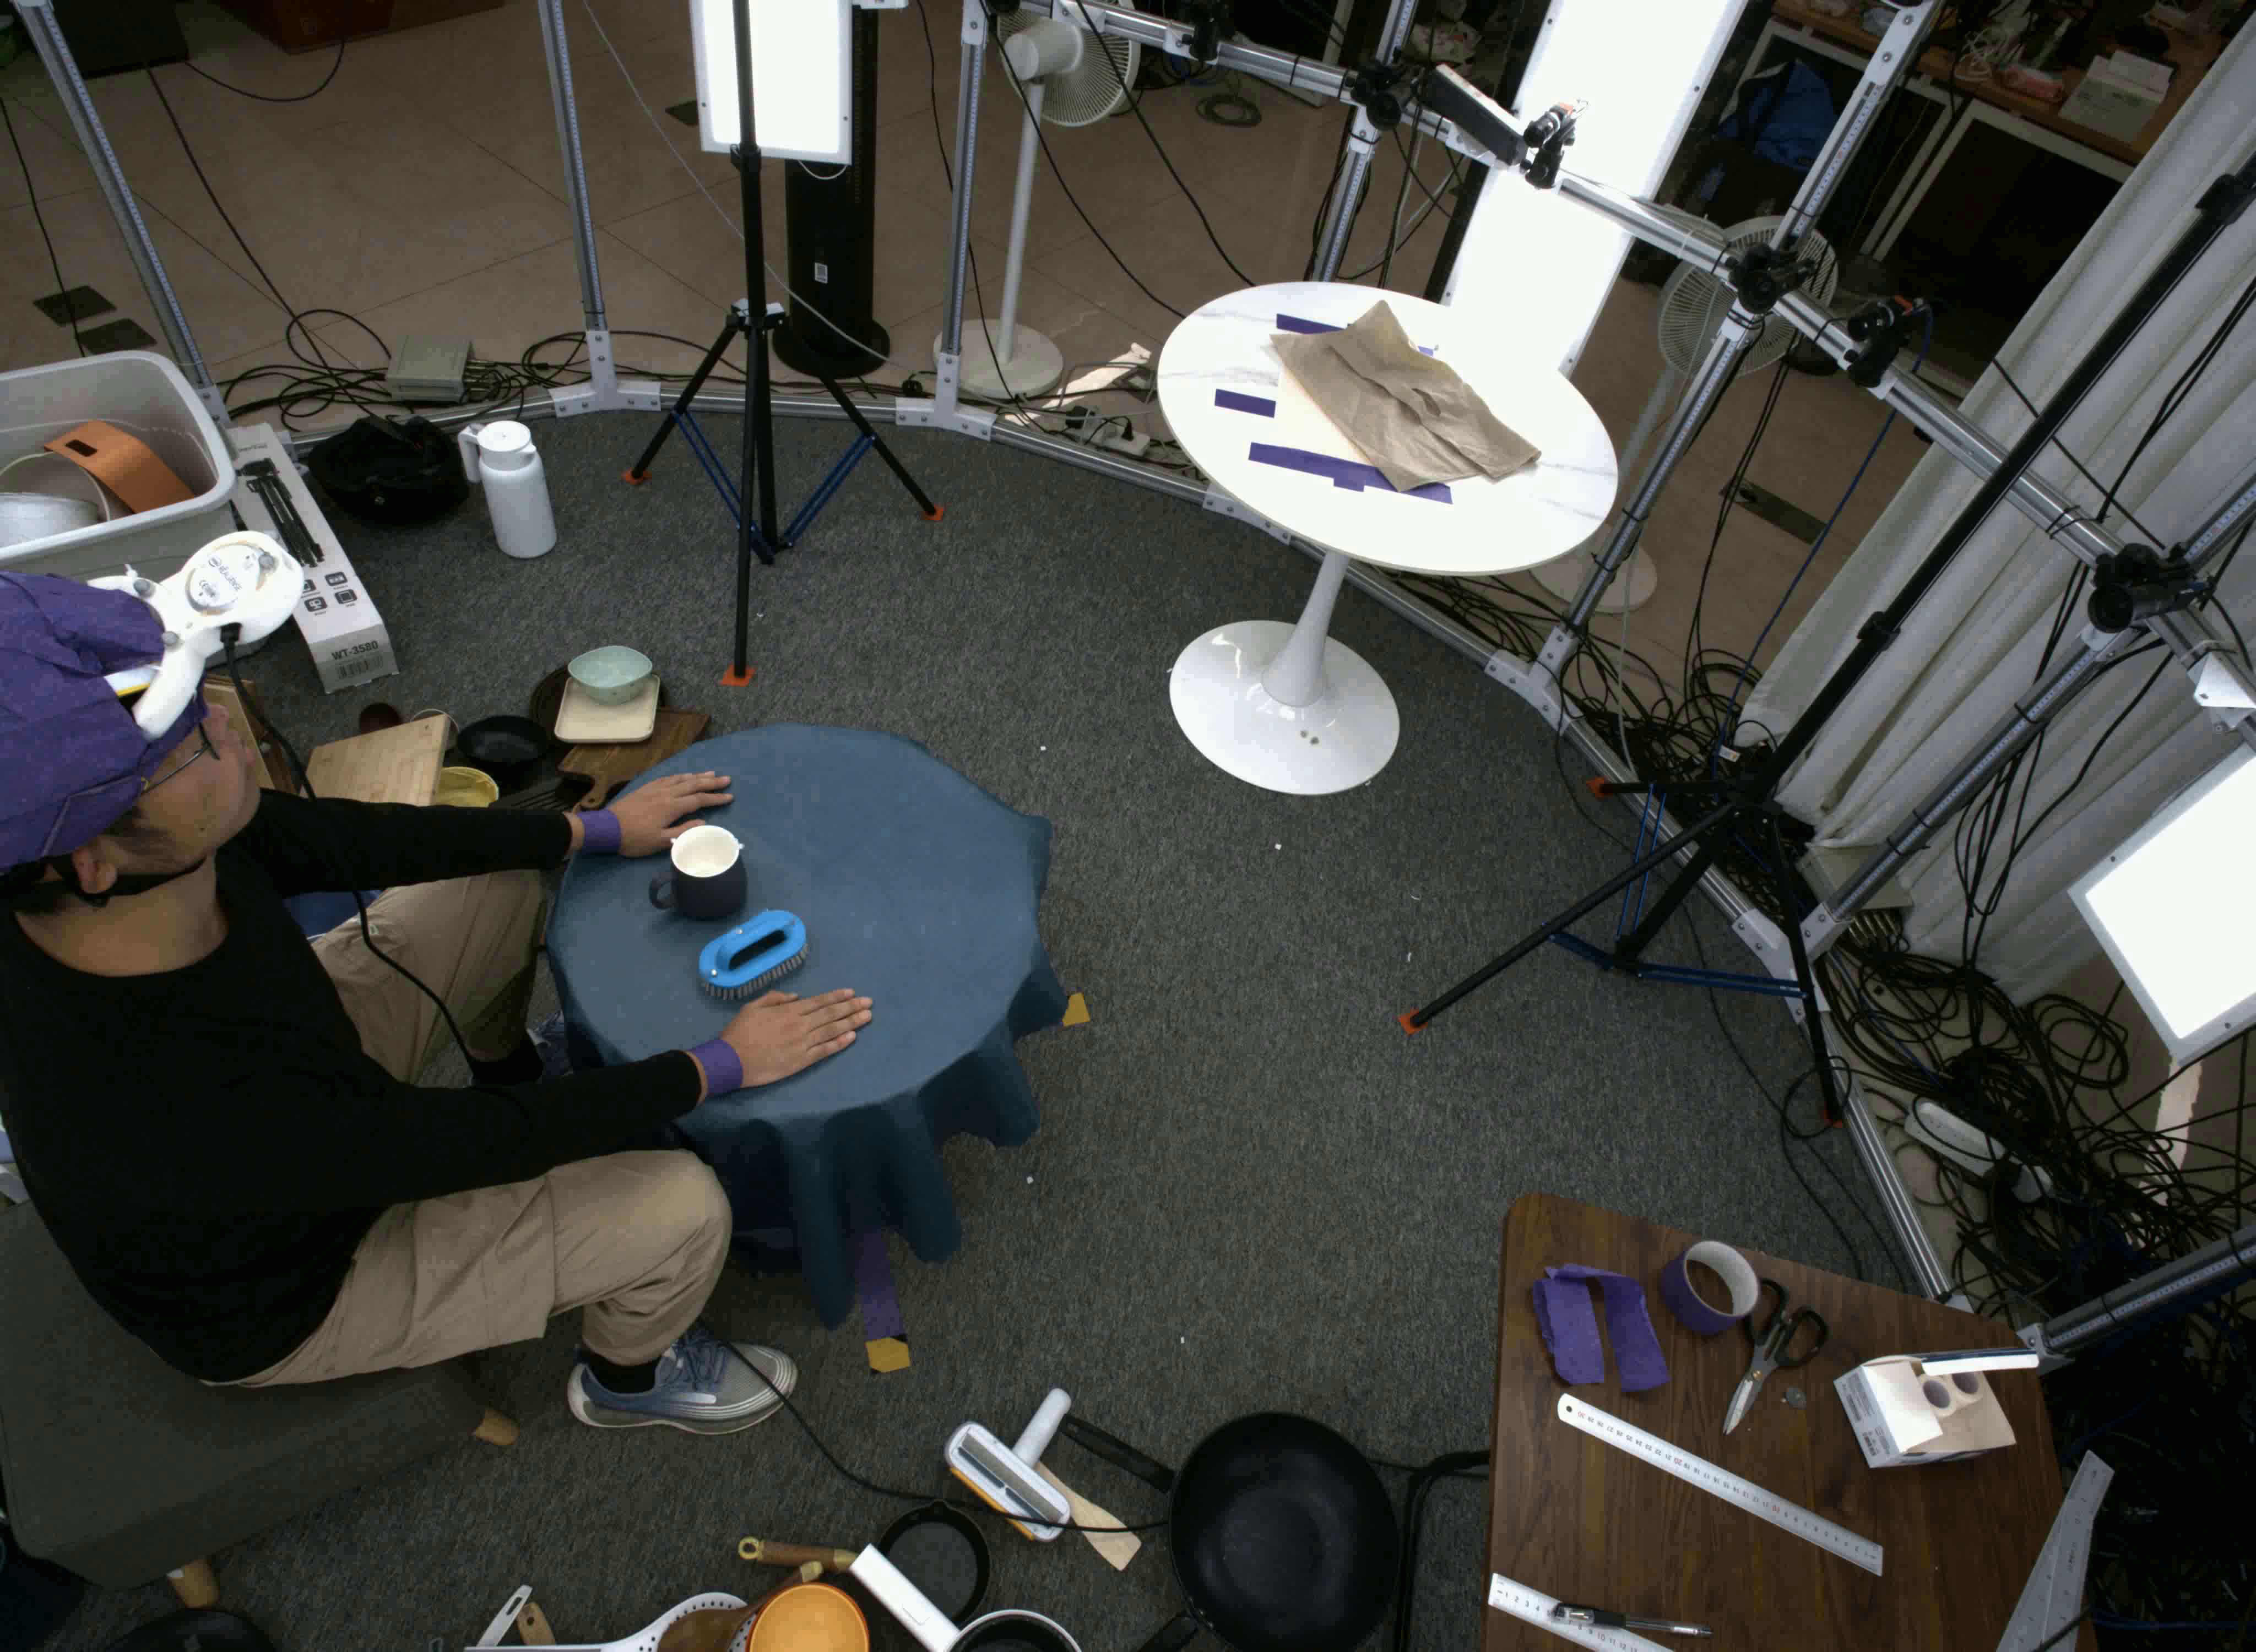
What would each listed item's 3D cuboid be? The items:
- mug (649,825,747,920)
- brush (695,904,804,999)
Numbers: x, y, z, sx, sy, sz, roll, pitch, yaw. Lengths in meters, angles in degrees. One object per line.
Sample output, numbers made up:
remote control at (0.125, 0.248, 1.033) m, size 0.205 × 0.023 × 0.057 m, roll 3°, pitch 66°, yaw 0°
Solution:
mug at (-0.534, 0.060, 1.594) m, size 0.124 × 0.092 × 0.091 m, roll -24°, pitch 61°, yaw -30°
brush at (-0.457, 0.144, 1.570) m, size 0.142 × 0.065 × 0.083 m, roll -31°, pitch 70°, yaw -30°
